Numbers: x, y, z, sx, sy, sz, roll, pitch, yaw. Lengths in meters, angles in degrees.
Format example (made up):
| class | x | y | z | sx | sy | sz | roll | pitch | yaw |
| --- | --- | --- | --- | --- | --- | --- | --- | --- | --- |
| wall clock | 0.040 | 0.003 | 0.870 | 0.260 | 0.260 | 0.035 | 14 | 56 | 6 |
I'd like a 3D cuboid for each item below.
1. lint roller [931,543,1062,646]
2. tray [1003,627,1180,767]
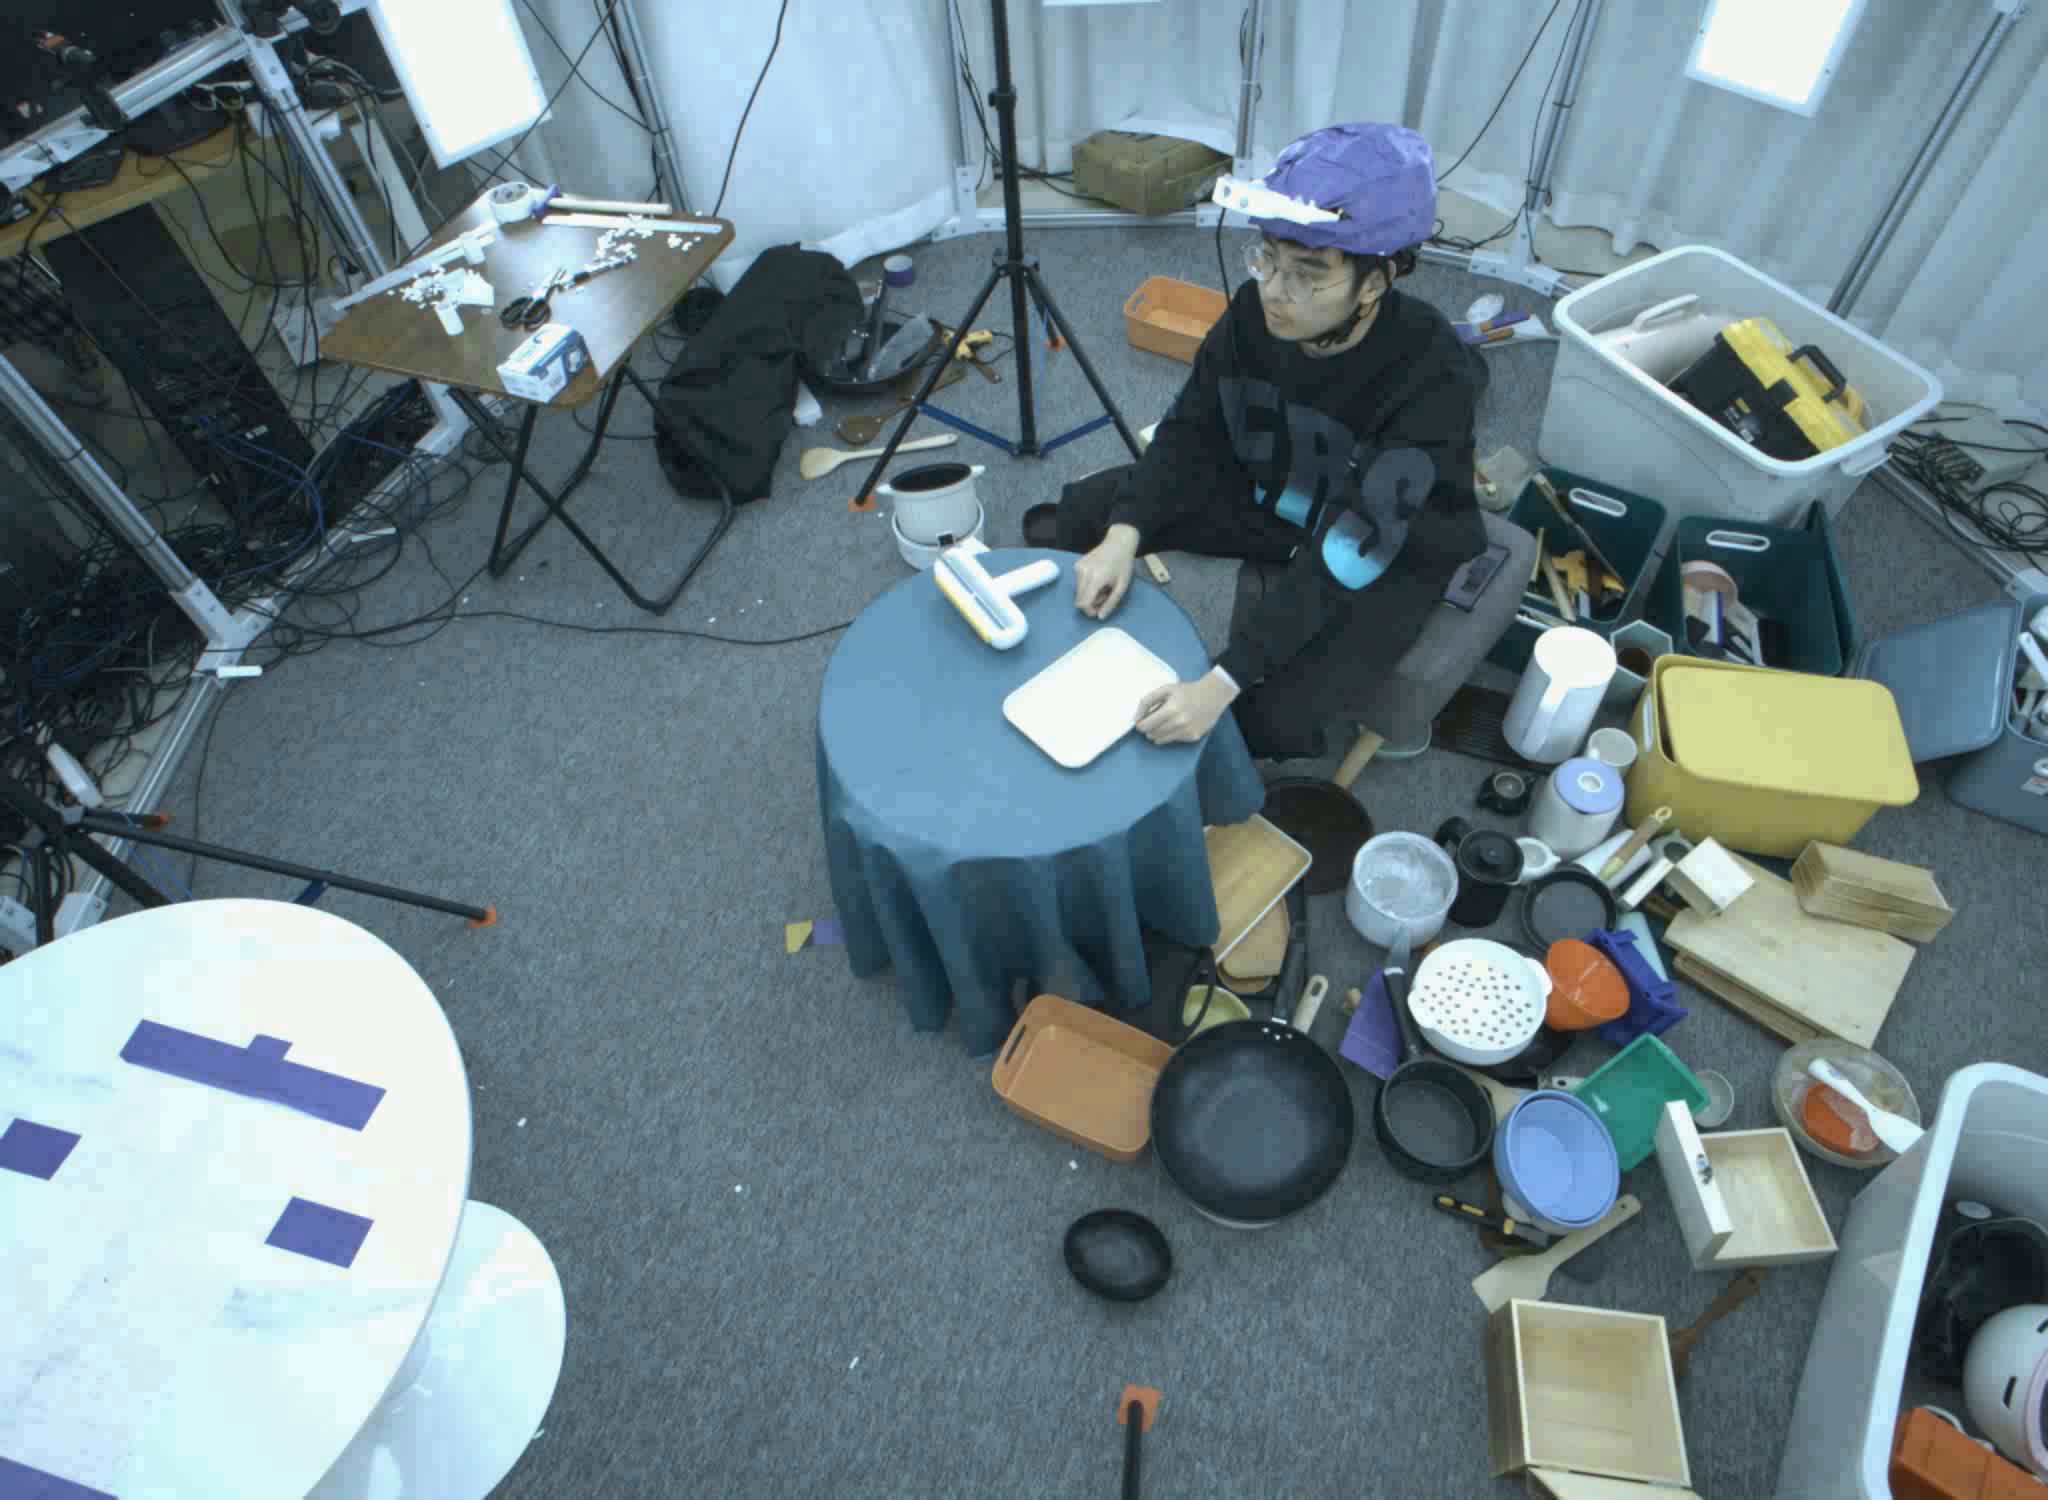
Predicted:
| class | x | y | z | sx | sy | sz | roll | pitch | yaw |
| --- | --- | --- | --- | --- | --- | --- | --- | --- | --- |
| lint roller | -0.025 | -0.263 | 1.929 | 0.194 | 0.075 | 0.189 | -29 | 64 | -19 |
| tray | 0.101 | -0.080 | 1.825 | 0.241 | 0.017 | 0.168 | -37 | 61 | -22 |
